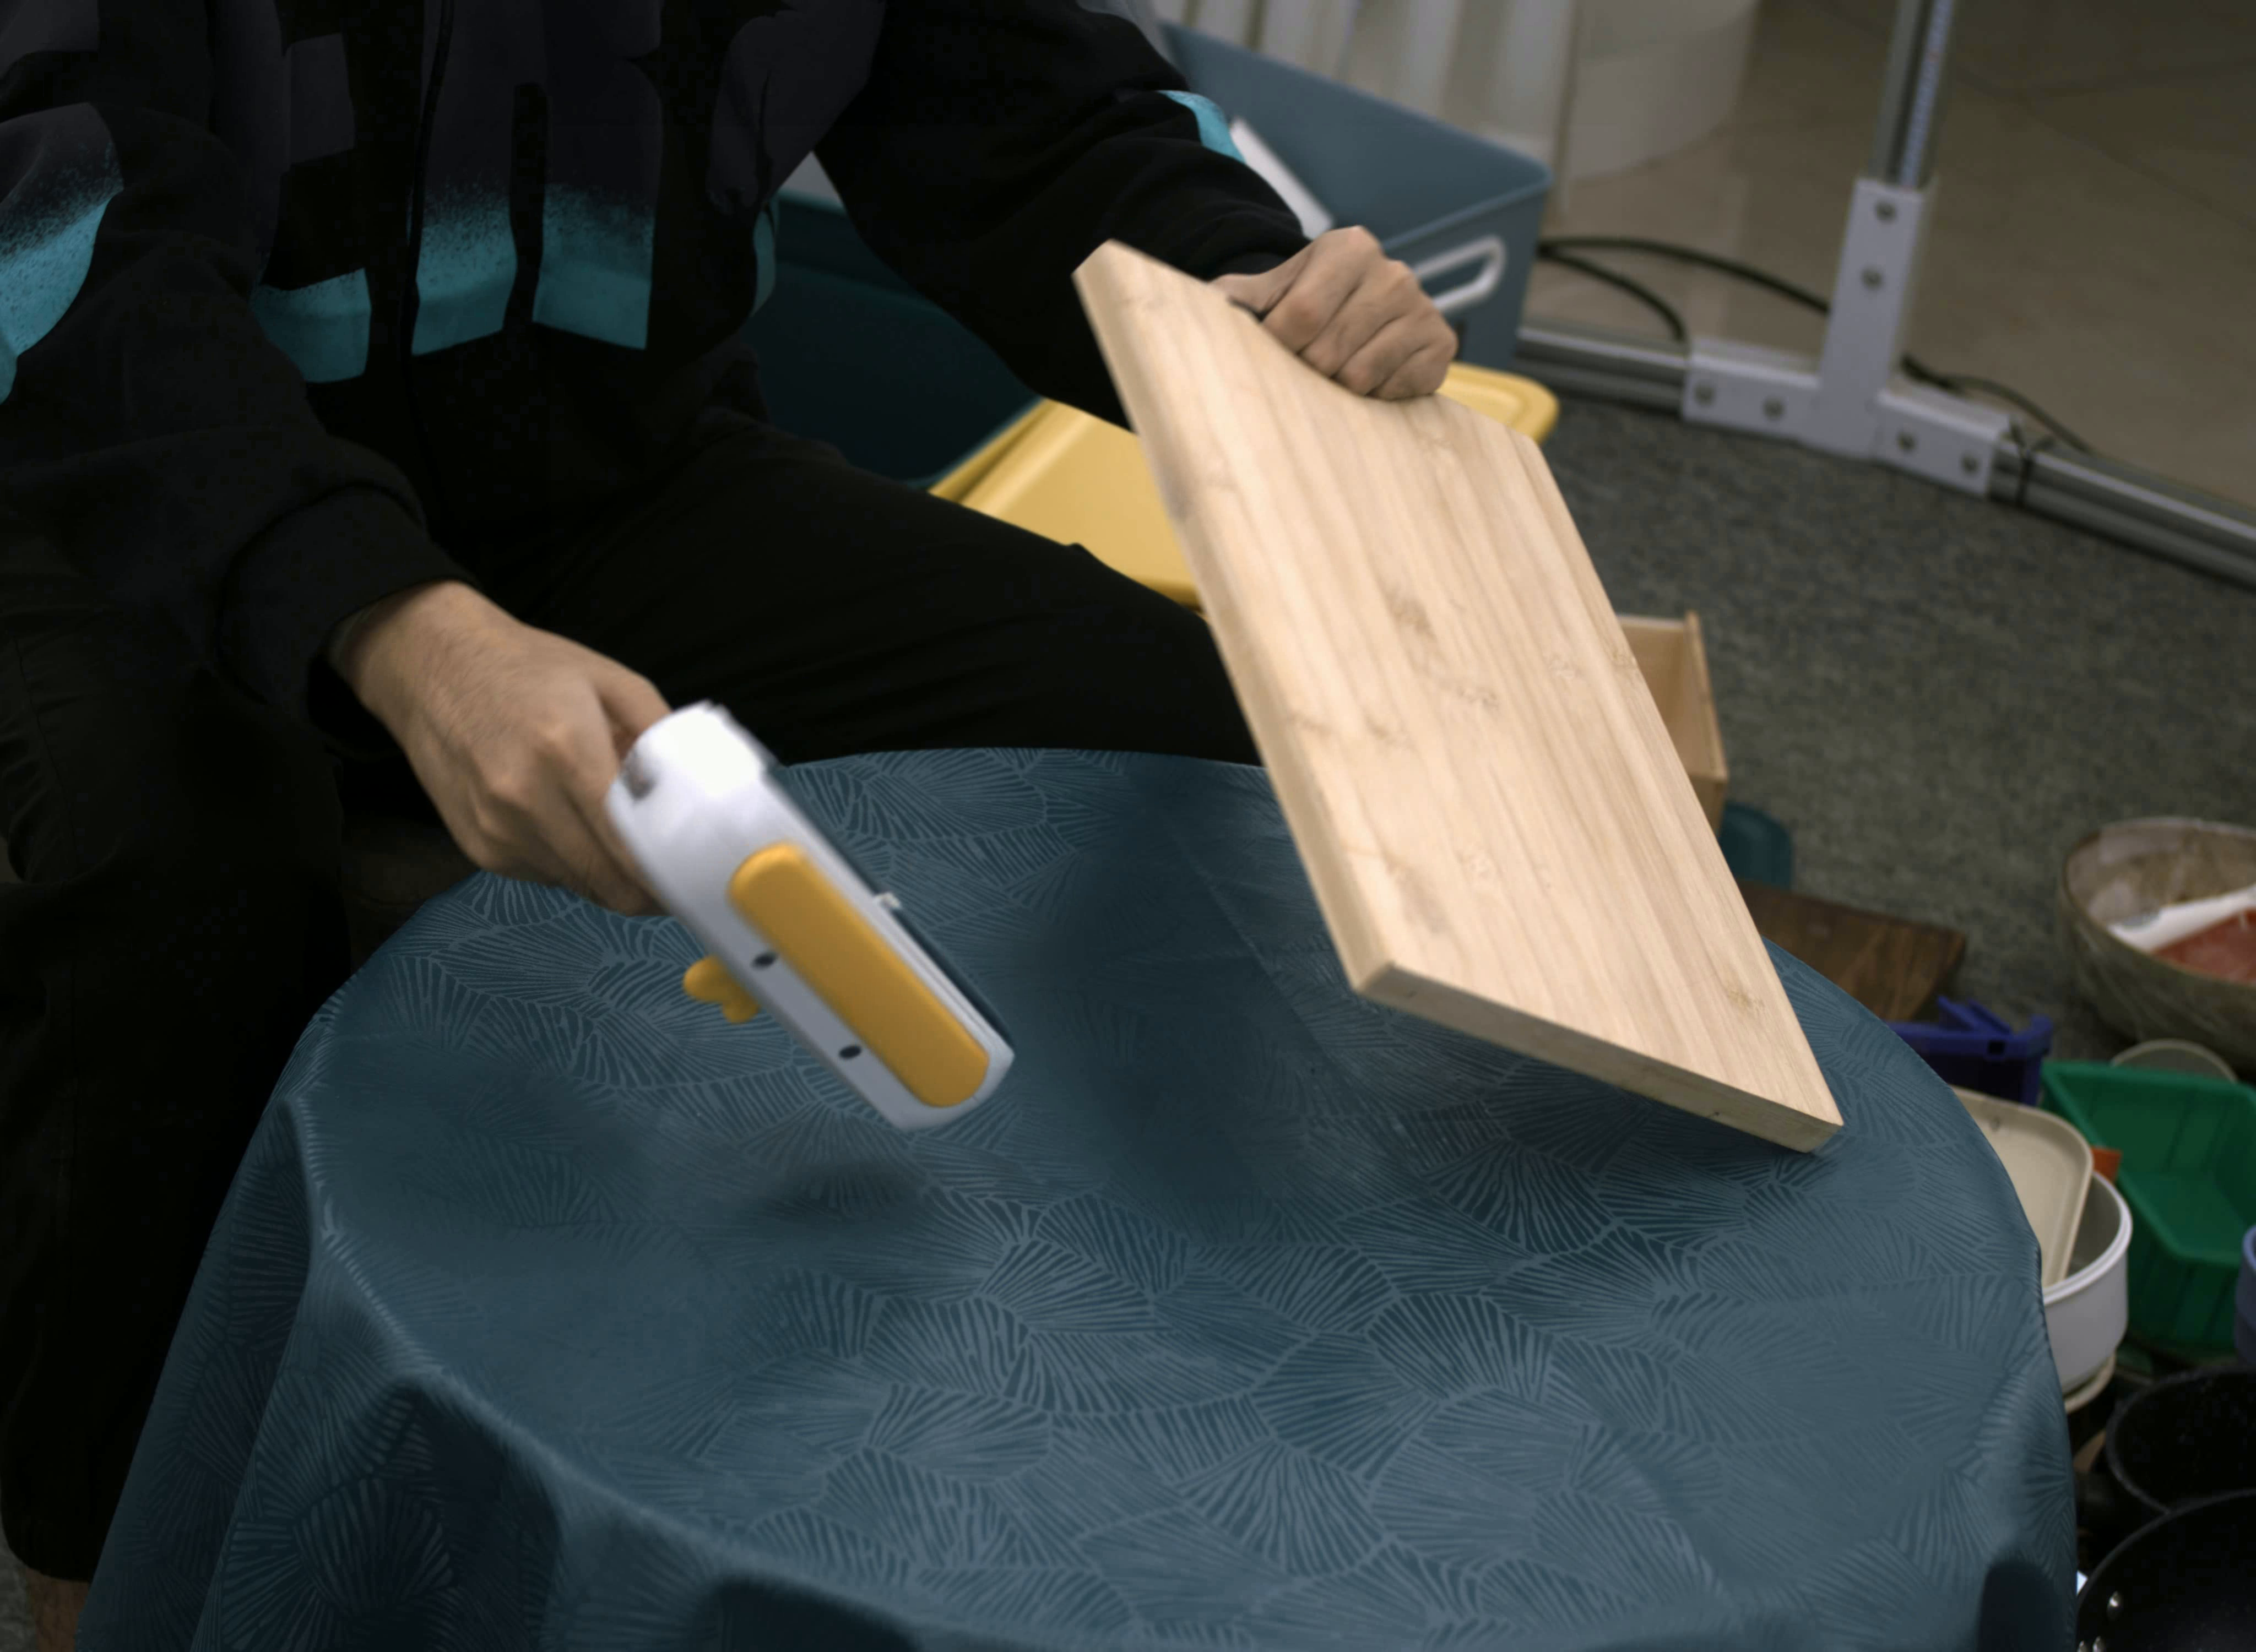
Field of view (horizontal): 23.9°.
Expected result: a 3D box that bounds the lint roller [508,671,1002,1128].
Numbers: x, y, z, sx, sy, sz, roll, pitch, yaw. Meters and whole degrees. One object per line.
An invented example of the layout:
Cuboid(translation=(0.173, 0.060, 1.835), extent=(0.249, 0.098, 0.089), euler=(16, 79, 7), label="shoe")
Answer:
Cuboid(translation=(-0.140, 0.007, 1.756), extent=(0.074, 0.191, 0.194), euler=(-47, 41, -3), label="lint roller")

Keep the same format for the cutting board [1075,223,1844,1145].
Cuboid(translation=(0.115, -0.052, 1.897), extent=(0.248, 0.023, 0.352), euler=(21, 37, -41), label="cutting board")
